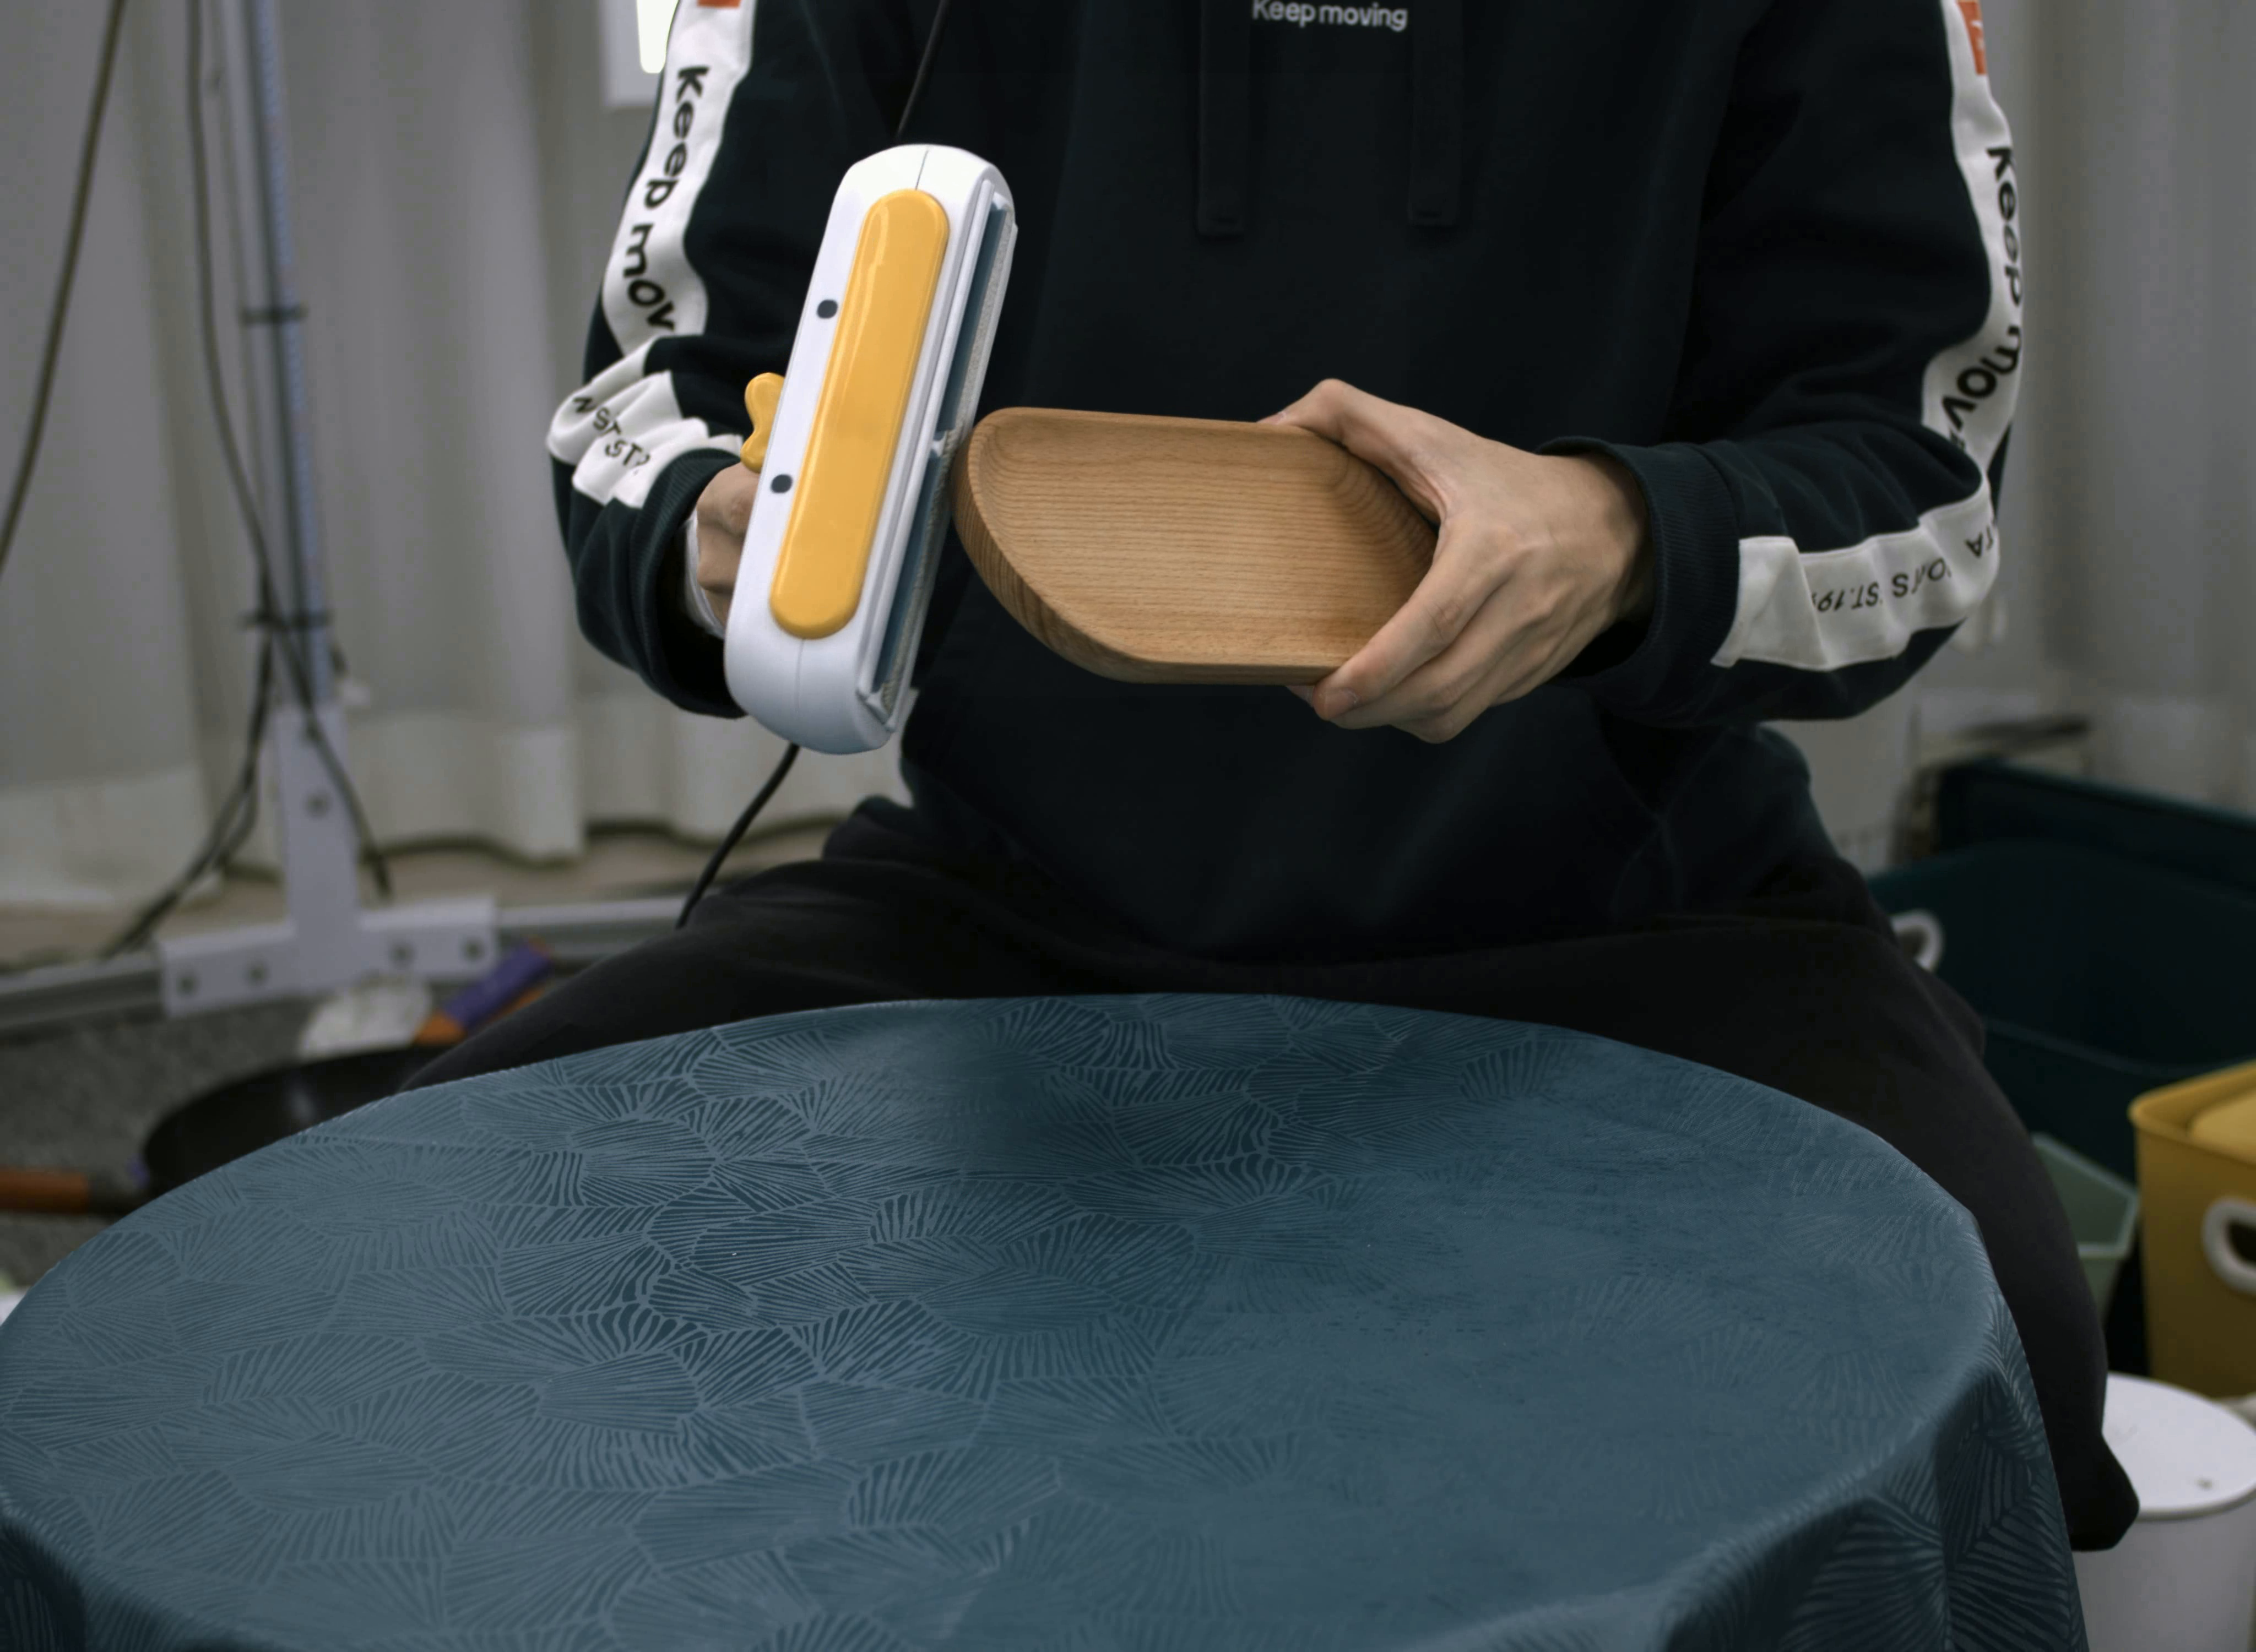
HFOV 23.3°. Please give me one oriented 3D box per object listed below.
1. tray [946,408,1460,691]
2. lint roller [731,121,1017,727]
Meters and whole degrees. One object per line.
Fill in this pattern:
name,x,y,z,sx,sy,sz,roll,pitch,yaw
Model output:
tray,0.026,-0.086,1.742,0.230,0.103,0.020,-2,-35,-50
lint roller,-0.080,-0.107,1.747,0.074,0.195,0.190,7,-19,6
